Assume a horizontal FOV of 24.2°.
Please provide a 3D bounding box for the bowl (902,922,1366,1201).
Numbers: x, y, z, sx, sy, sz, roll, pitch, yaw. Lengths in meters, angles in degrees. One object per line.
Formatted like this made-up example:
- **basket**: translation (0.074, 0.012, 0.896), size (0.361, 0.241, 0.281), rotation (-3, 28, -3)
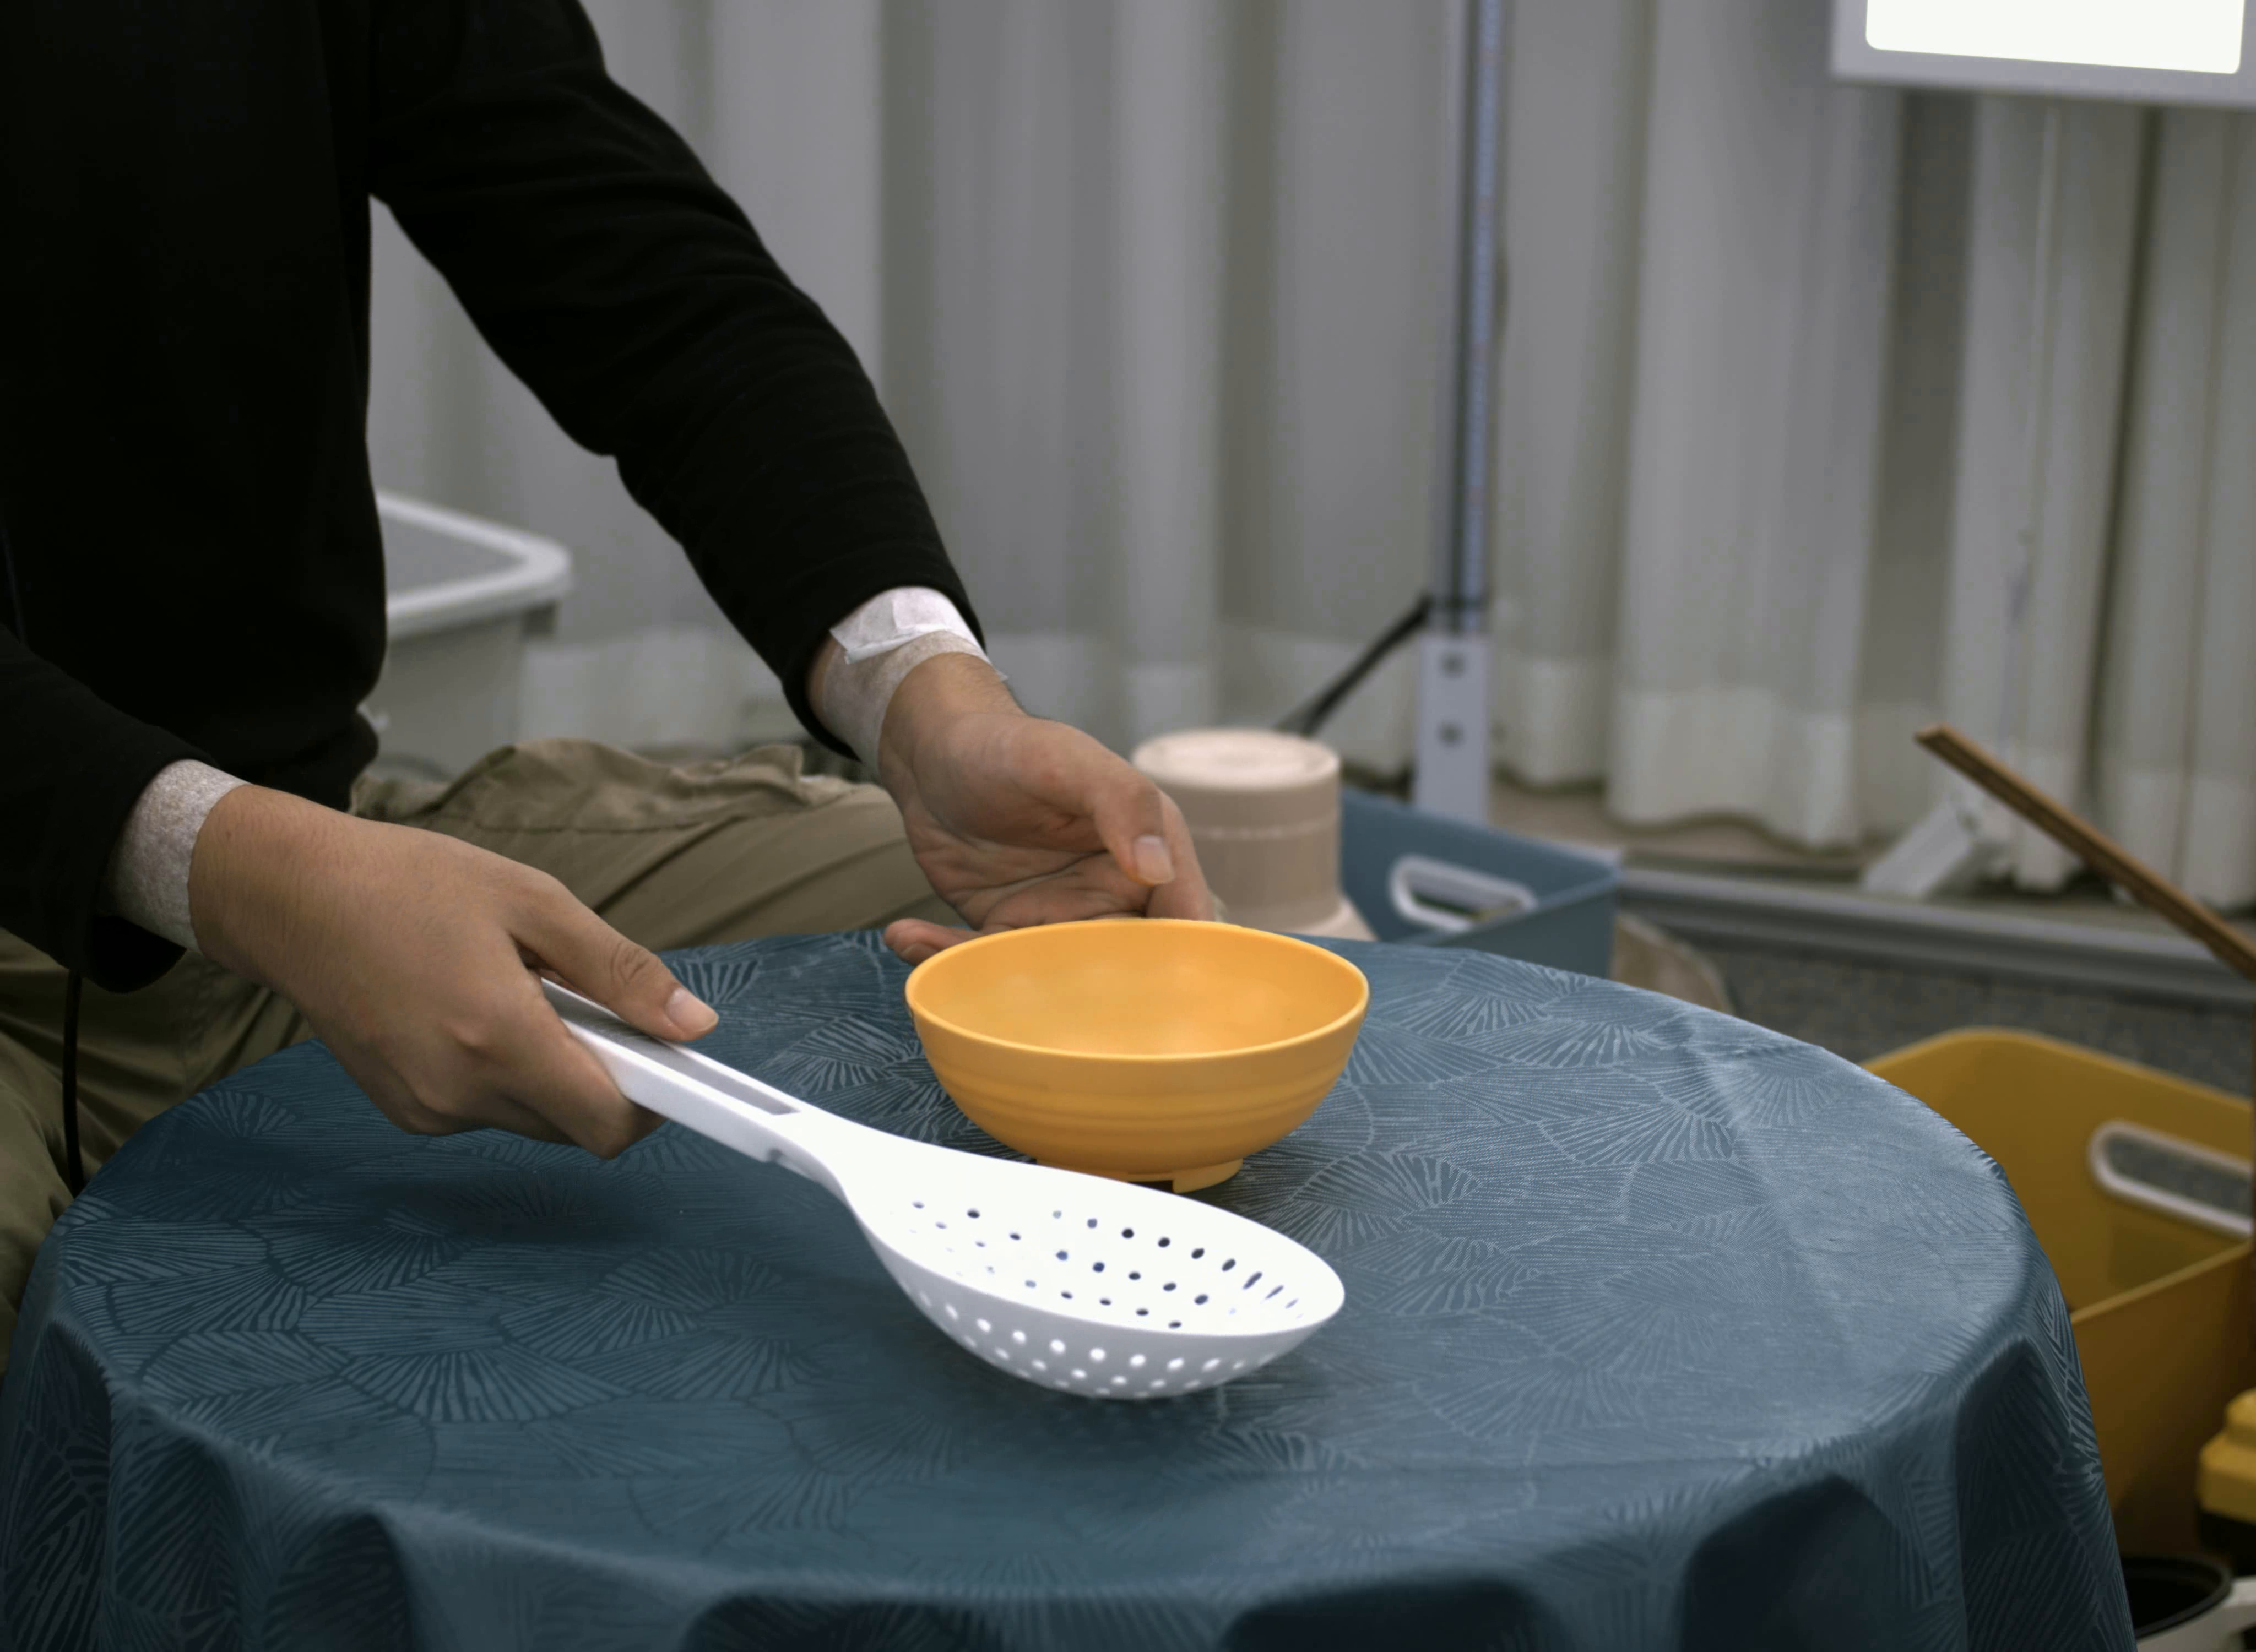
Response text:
- **bowl**: translation (0.001, 0.078, 1.639), size (0.145, 0.060, 0.144), rotation (3, 15, 0)

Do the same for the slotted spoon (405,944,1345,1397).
- **slotted spoon**: translation (-0.088, 0.092, 1.519), size (0.345, 0.046, 0.137), rotation (26, 19, 36)
